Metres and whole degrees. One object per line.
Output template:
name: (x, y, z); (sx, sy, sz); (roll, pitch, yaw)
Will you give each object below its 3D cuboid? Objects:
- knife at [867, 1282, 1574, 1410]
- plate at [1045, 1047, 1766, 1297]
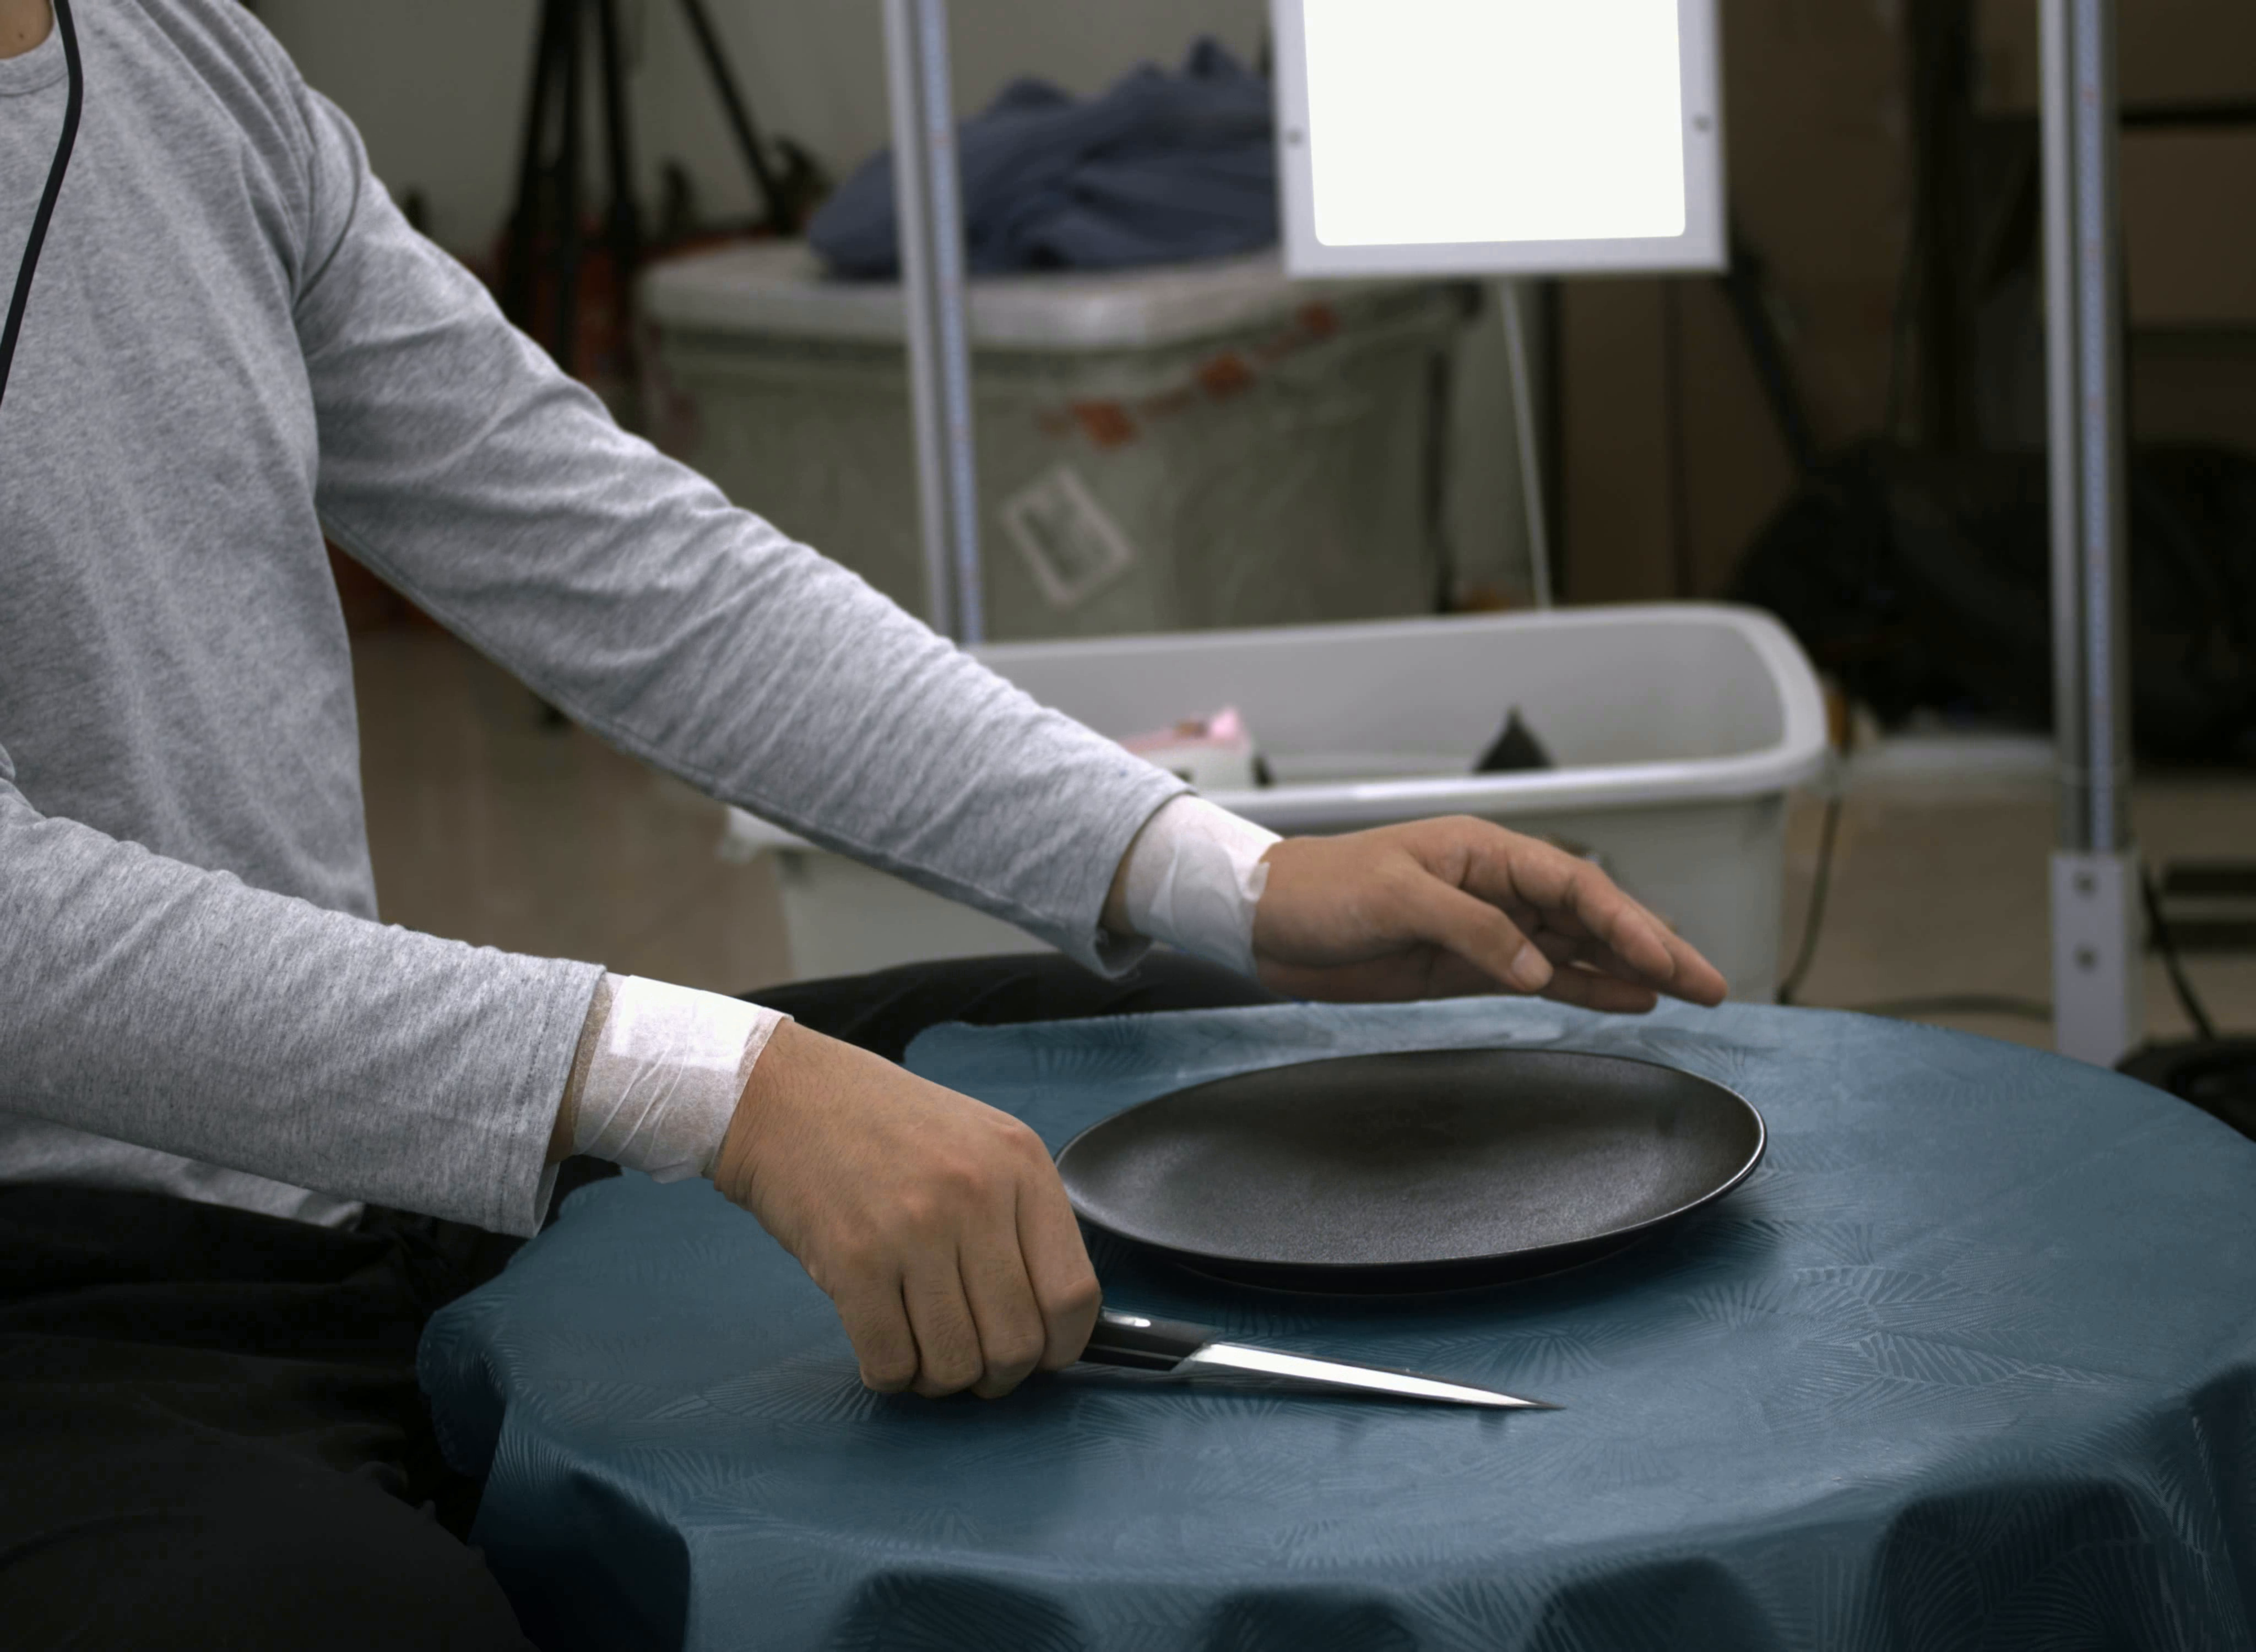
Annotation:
knife: (0.025, 0.164, 1.705); (0.242, 0.016, 0.024); (6, 16, 24)
plate: (0.094, 0.119, 1.852); (0.244, 0.023, 0.244); (-5, 14, 0)
